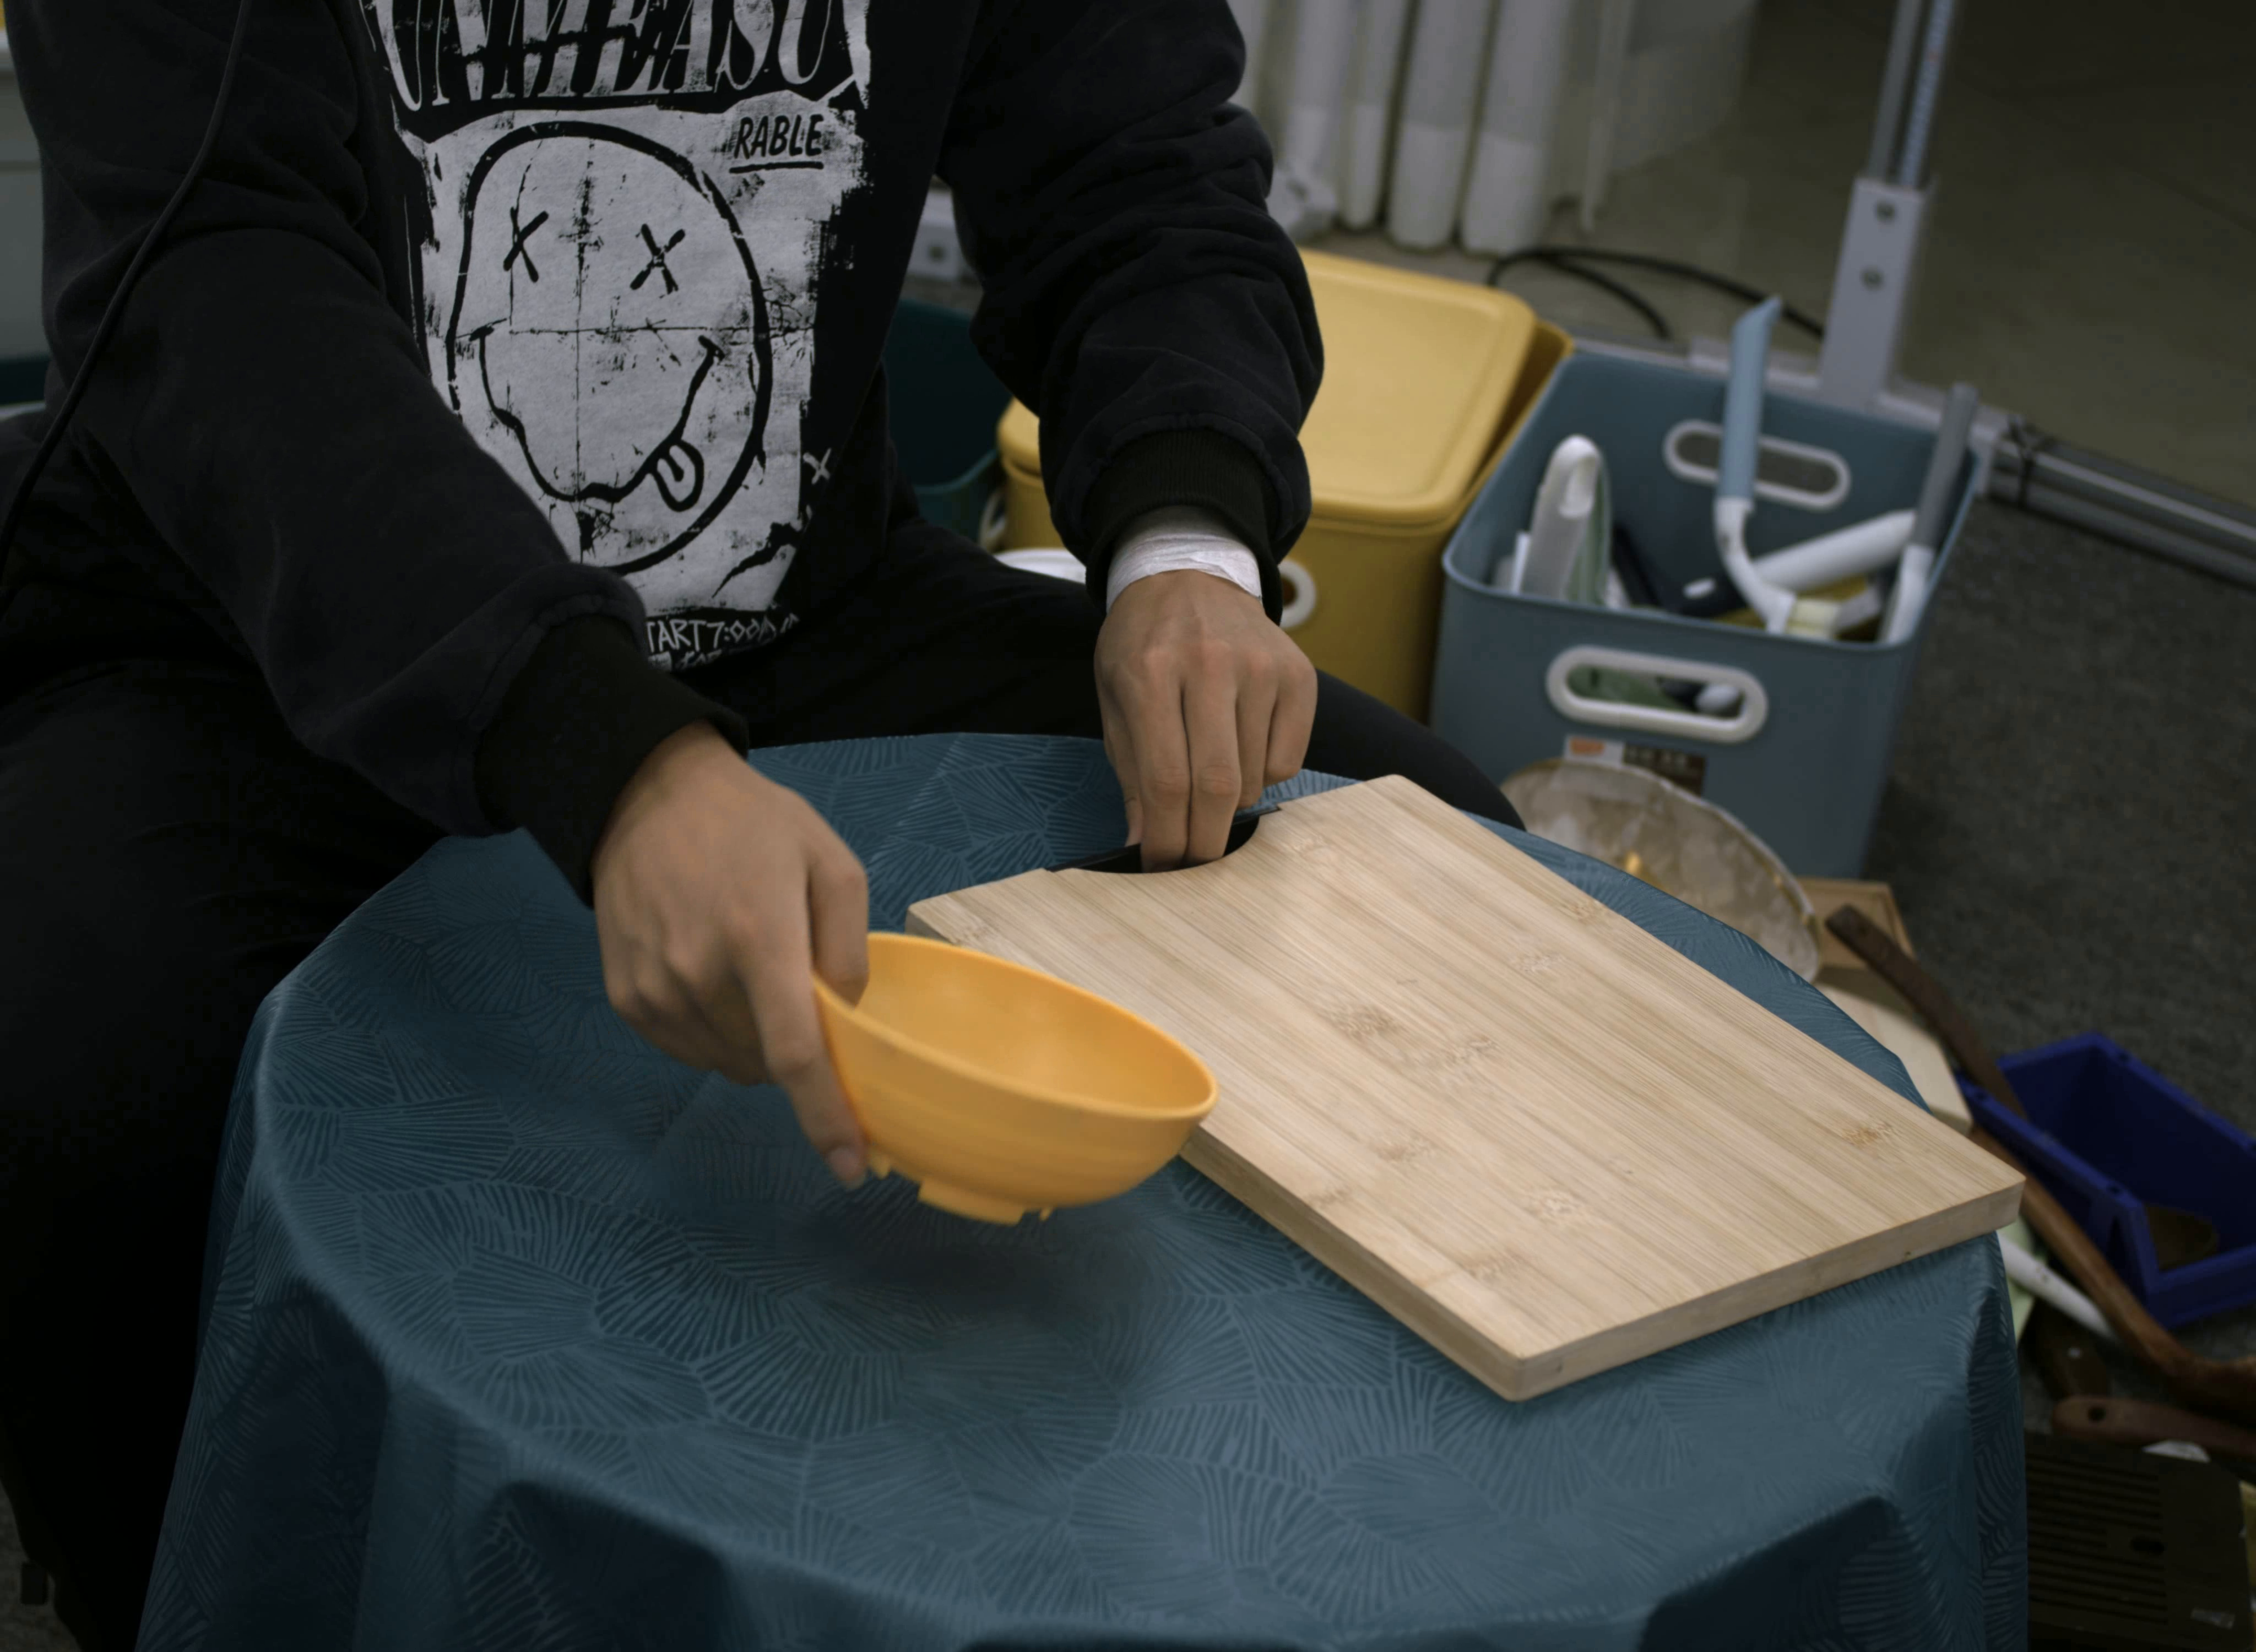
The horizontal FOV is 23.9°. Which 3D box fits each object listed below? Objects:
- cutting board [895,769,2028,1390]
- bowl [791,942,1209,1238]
[{"bbox_3d":[0.113,0.082,1.890,0.249,0.023,0.351,-15,34,-37],"label":"cutting board"},{"bbox_3d":[-0.050,0.094,1.741,0.145,0.060,0.146,19,12,-5],"label":"bowl"}]
